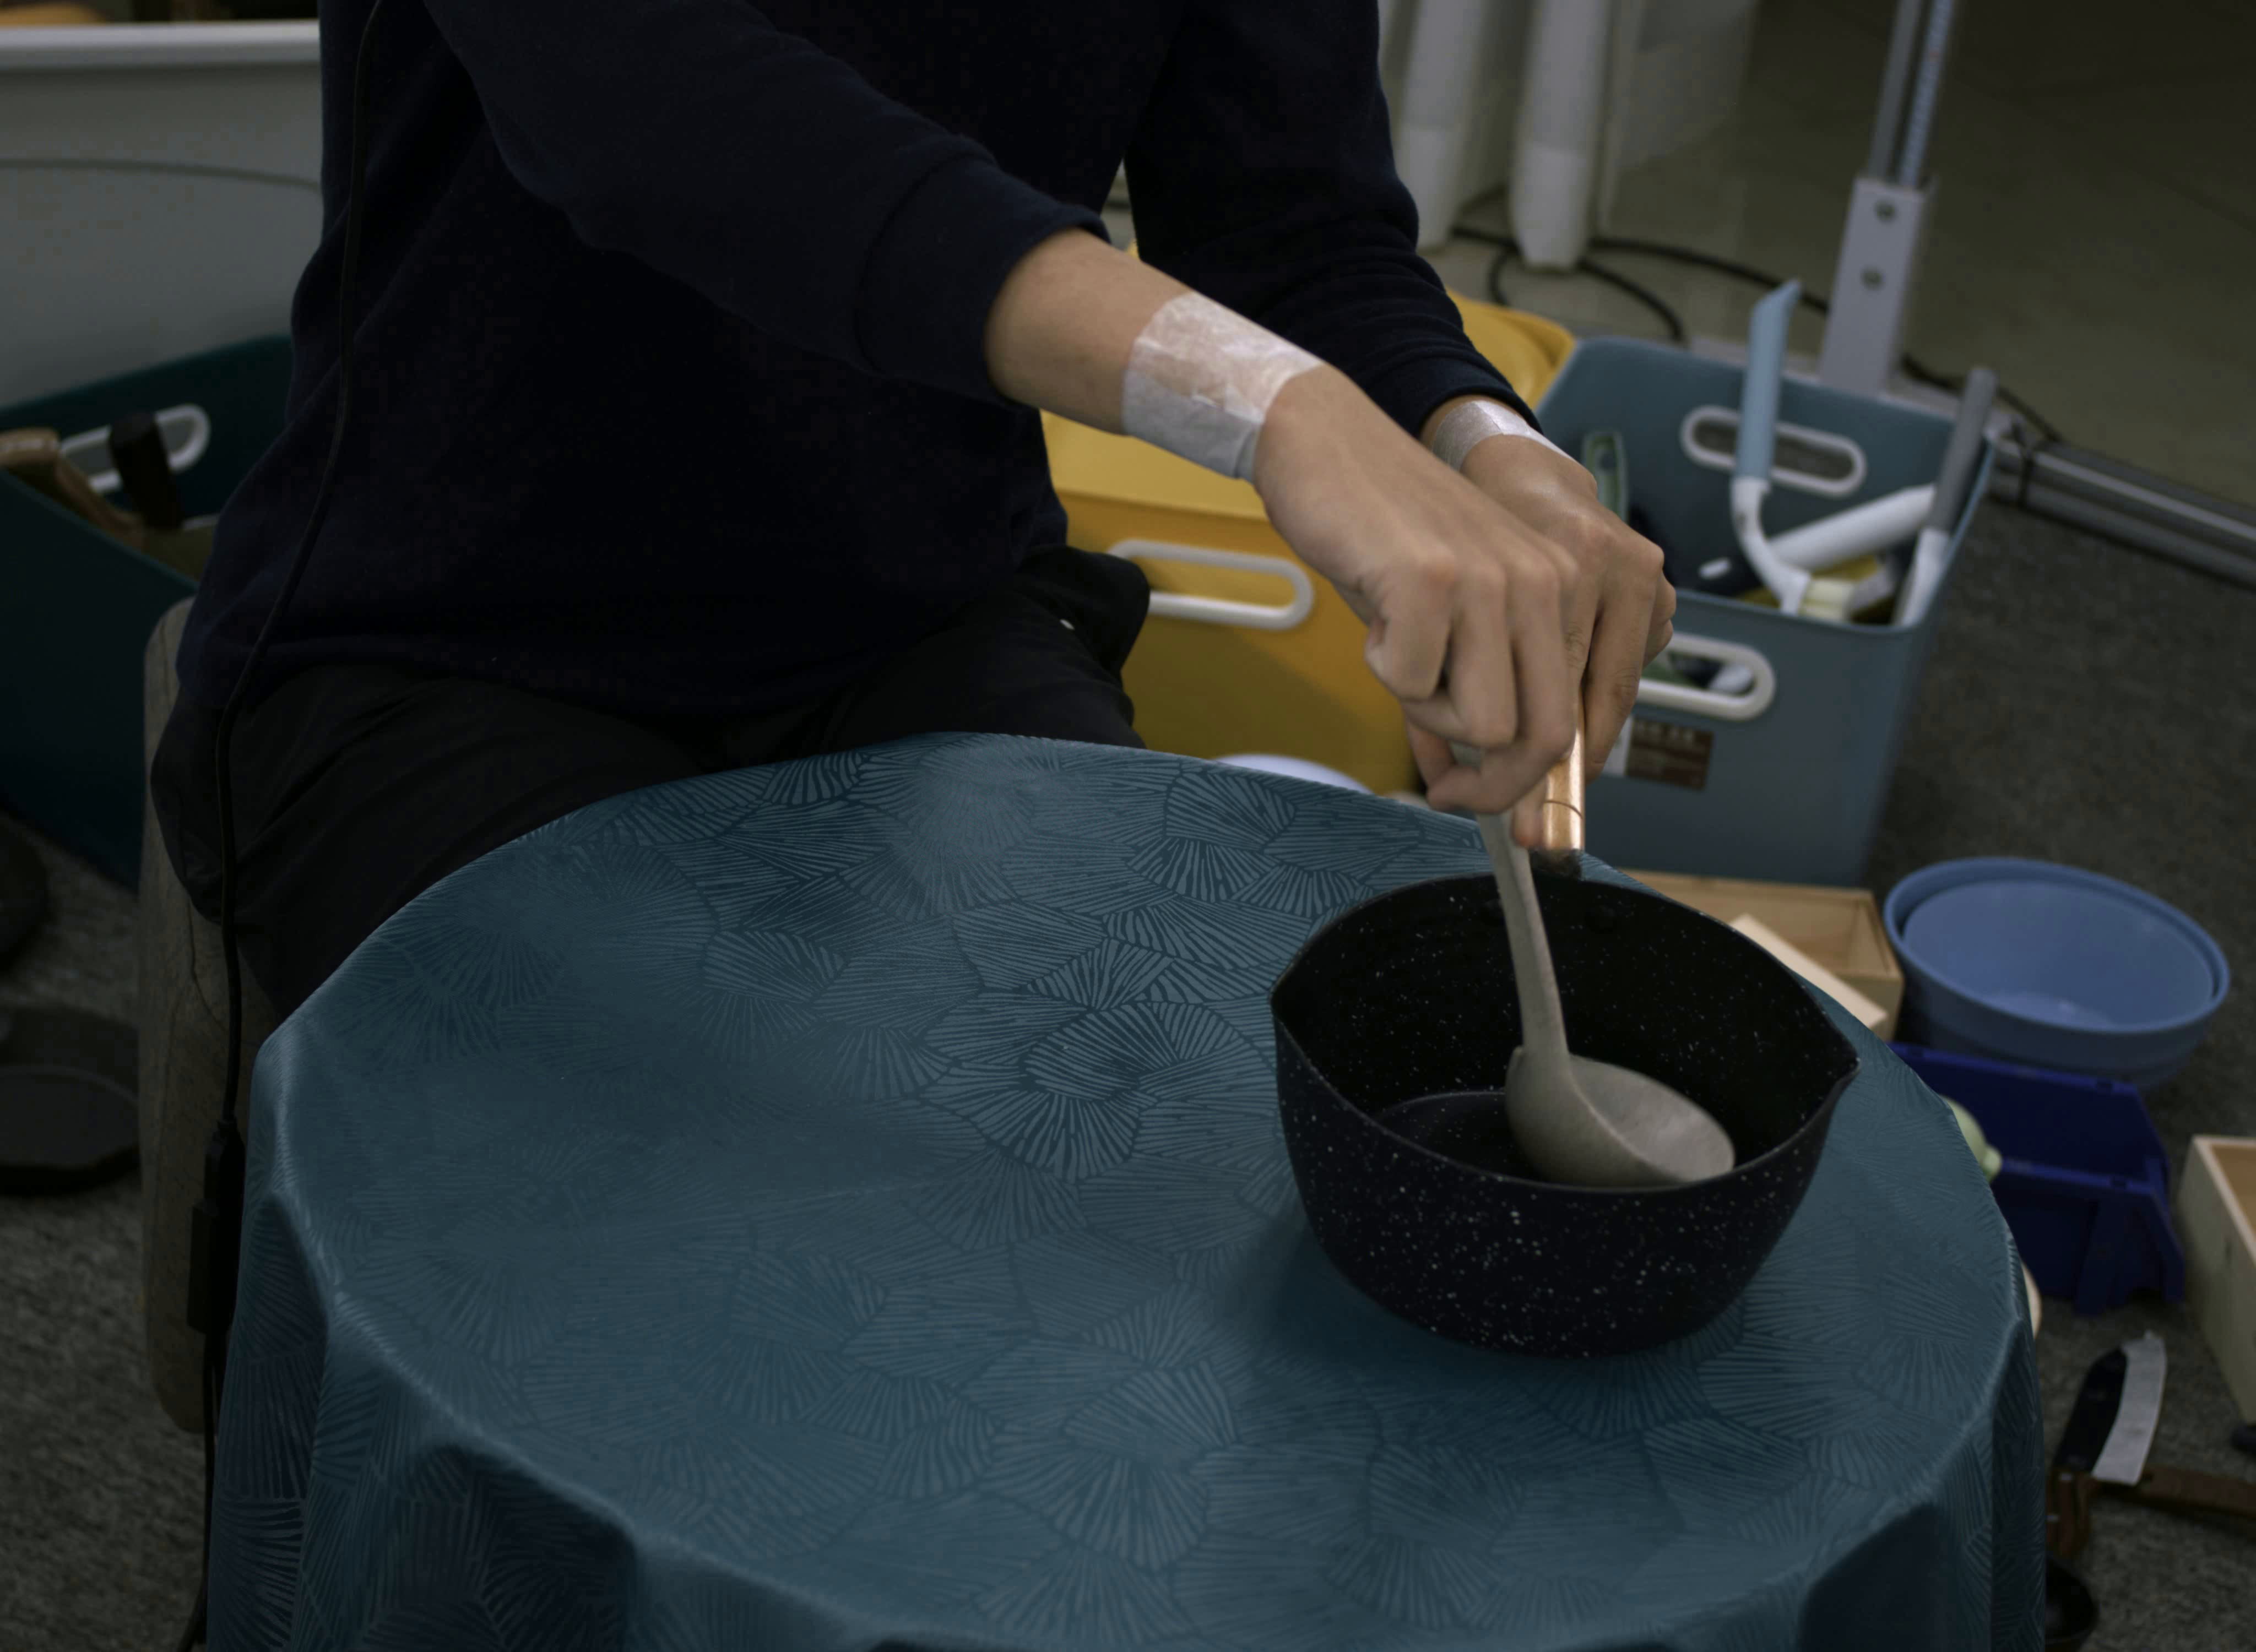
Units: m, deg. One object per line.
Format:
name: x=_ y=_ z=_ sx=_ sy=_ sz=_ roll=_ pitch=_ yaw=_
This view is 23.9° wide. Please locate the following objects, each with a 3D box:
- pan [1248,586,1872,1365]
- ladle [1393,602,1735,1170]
pan: x=0.142 y=0.048 z=1.836 sx=0.207 sy=0.108 sz=0.345 roll=4 pitch=33 yaw=-1
ladle: x=0.142 y=0.018 z=1.725 sx=0.069 sy=0.273 sz=0.090 roll=-28 pitch=41 yaw=-13
